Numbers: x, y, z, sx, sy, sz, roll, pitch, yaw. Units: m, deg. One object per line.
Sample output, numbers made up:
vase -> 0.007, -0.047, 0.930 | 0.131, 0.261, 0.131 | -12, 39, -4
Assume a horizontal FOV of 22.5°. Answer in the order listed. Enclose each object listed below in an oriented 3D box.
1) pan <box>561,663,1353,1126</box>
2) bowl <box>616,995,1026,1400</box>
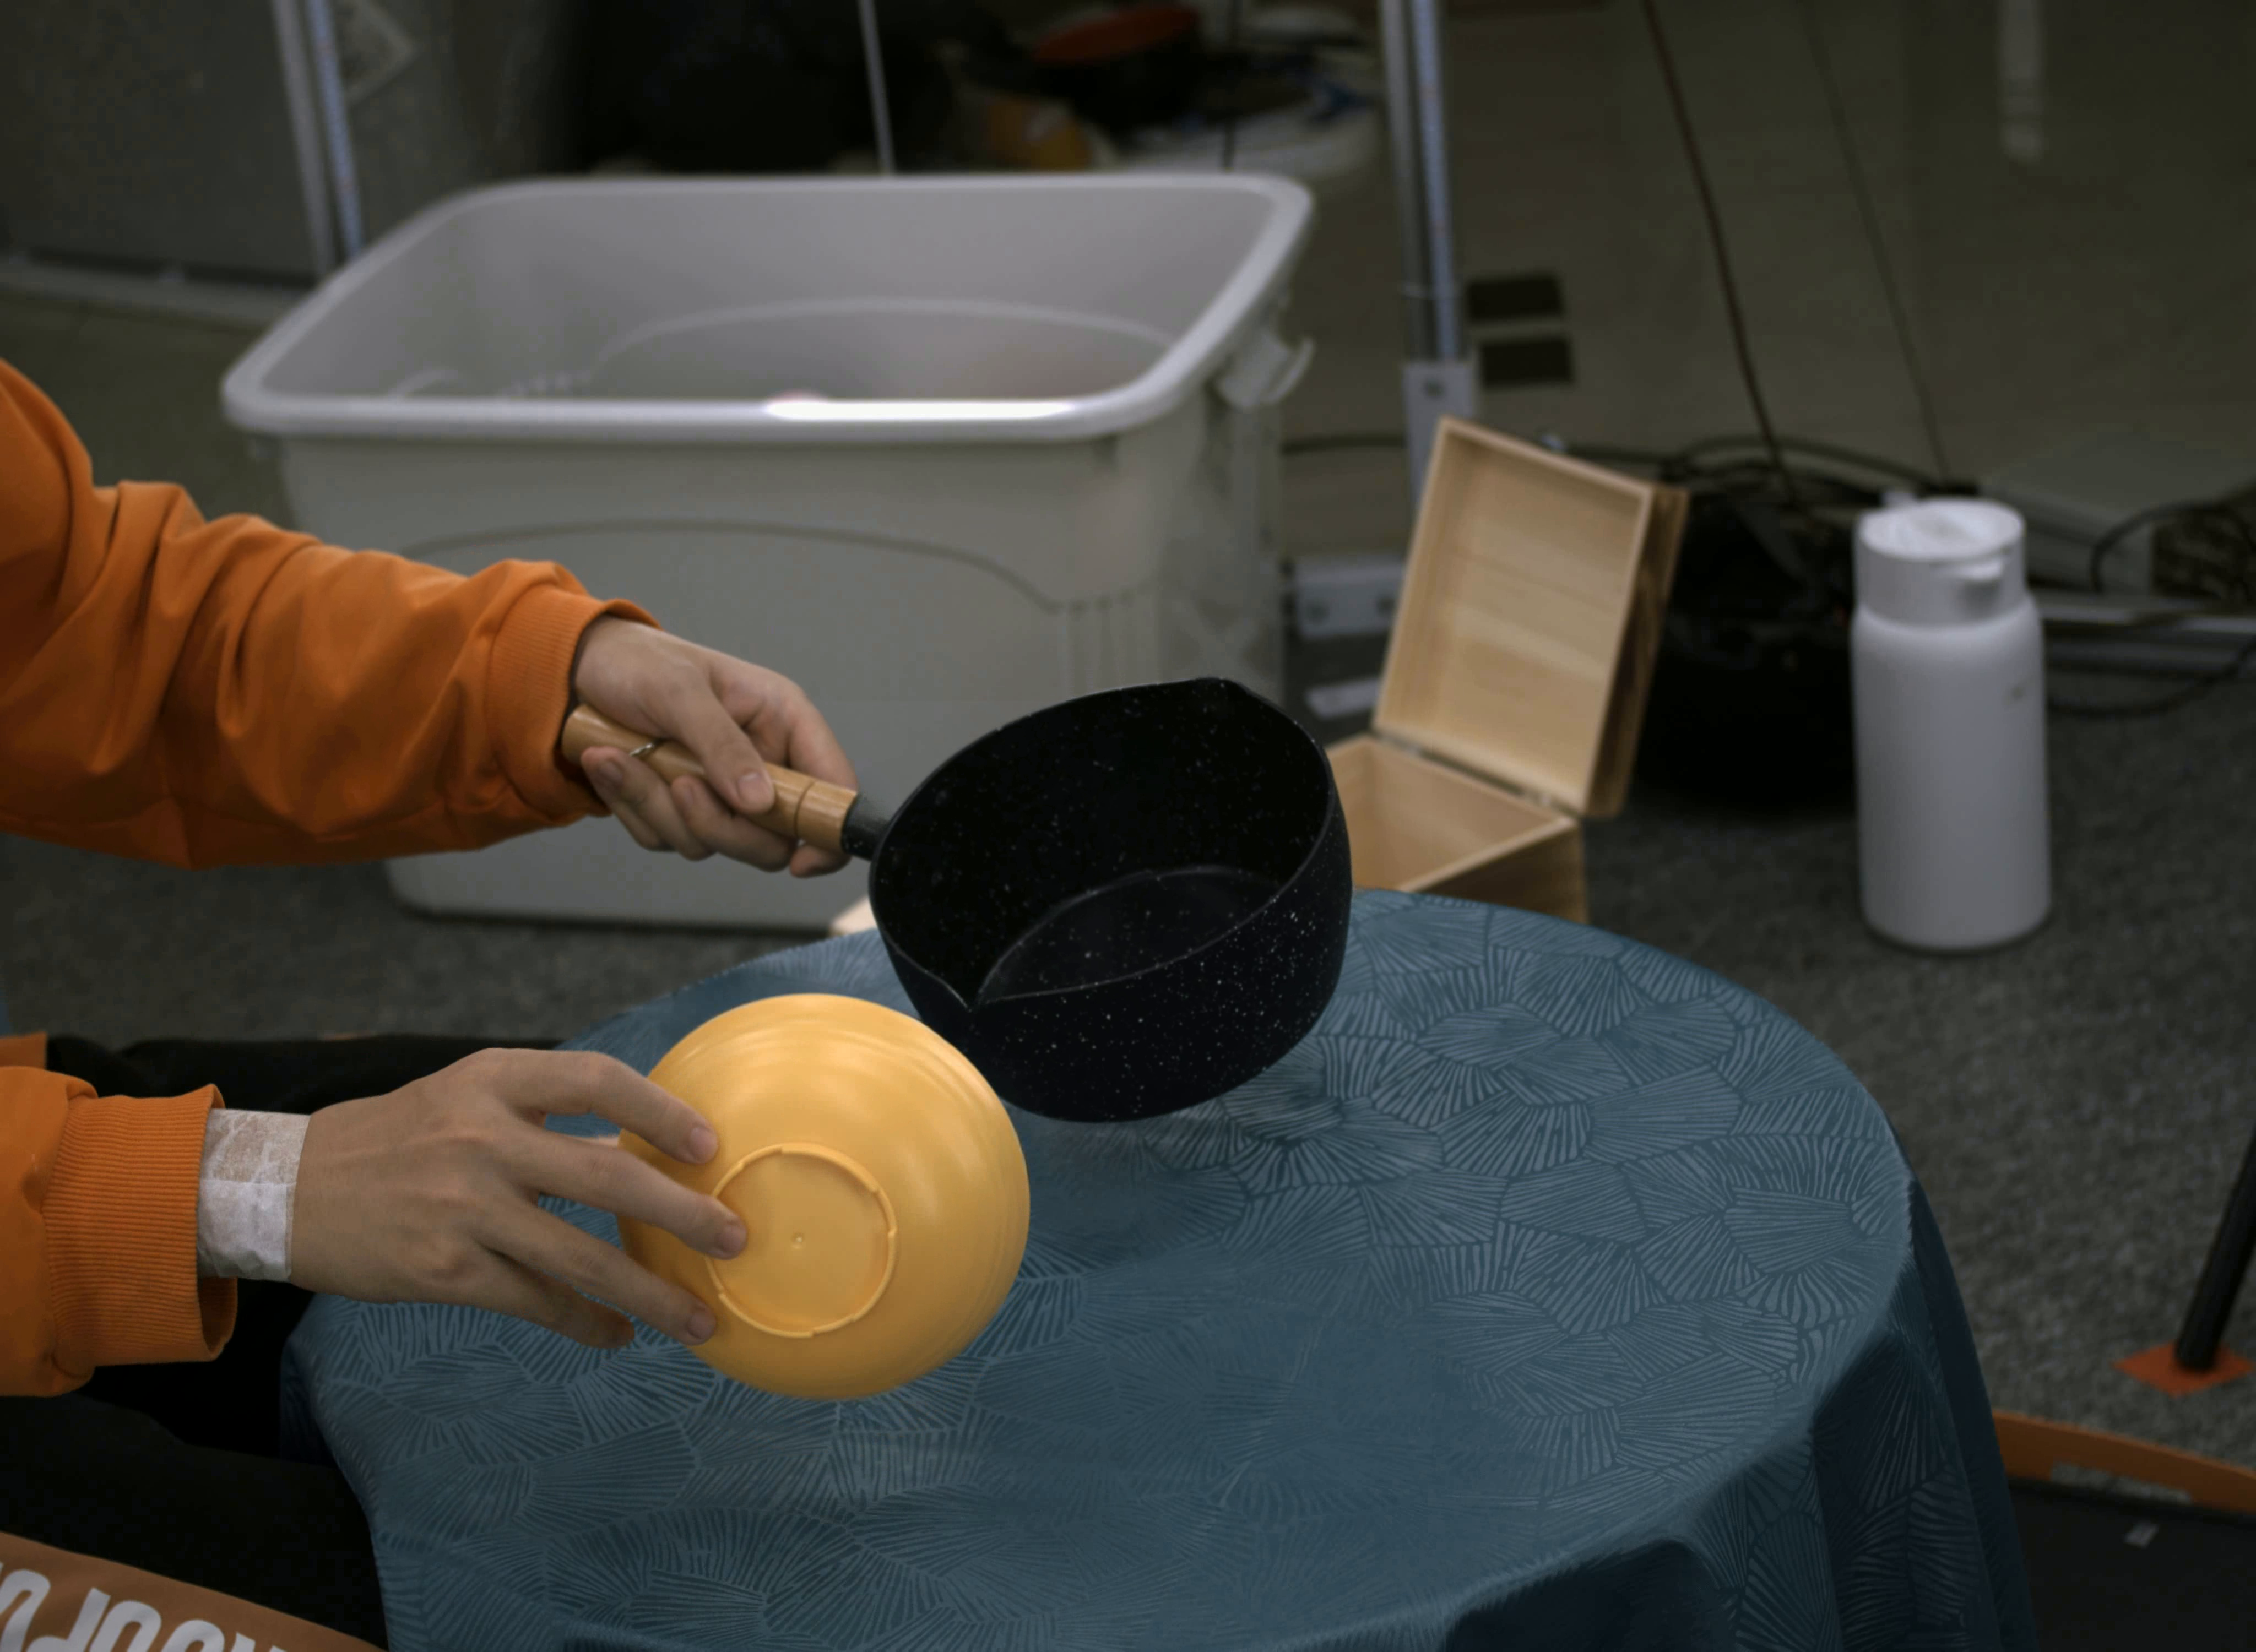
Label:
pan -> -0.071, 0.016, 2.210 | 0.341, 0.110, 0.204 | 9, 46, 30
bowl -> -0.109, 0.135, 1.930 | 0.145, 0.147, 0.059 | -3, 15, 7
